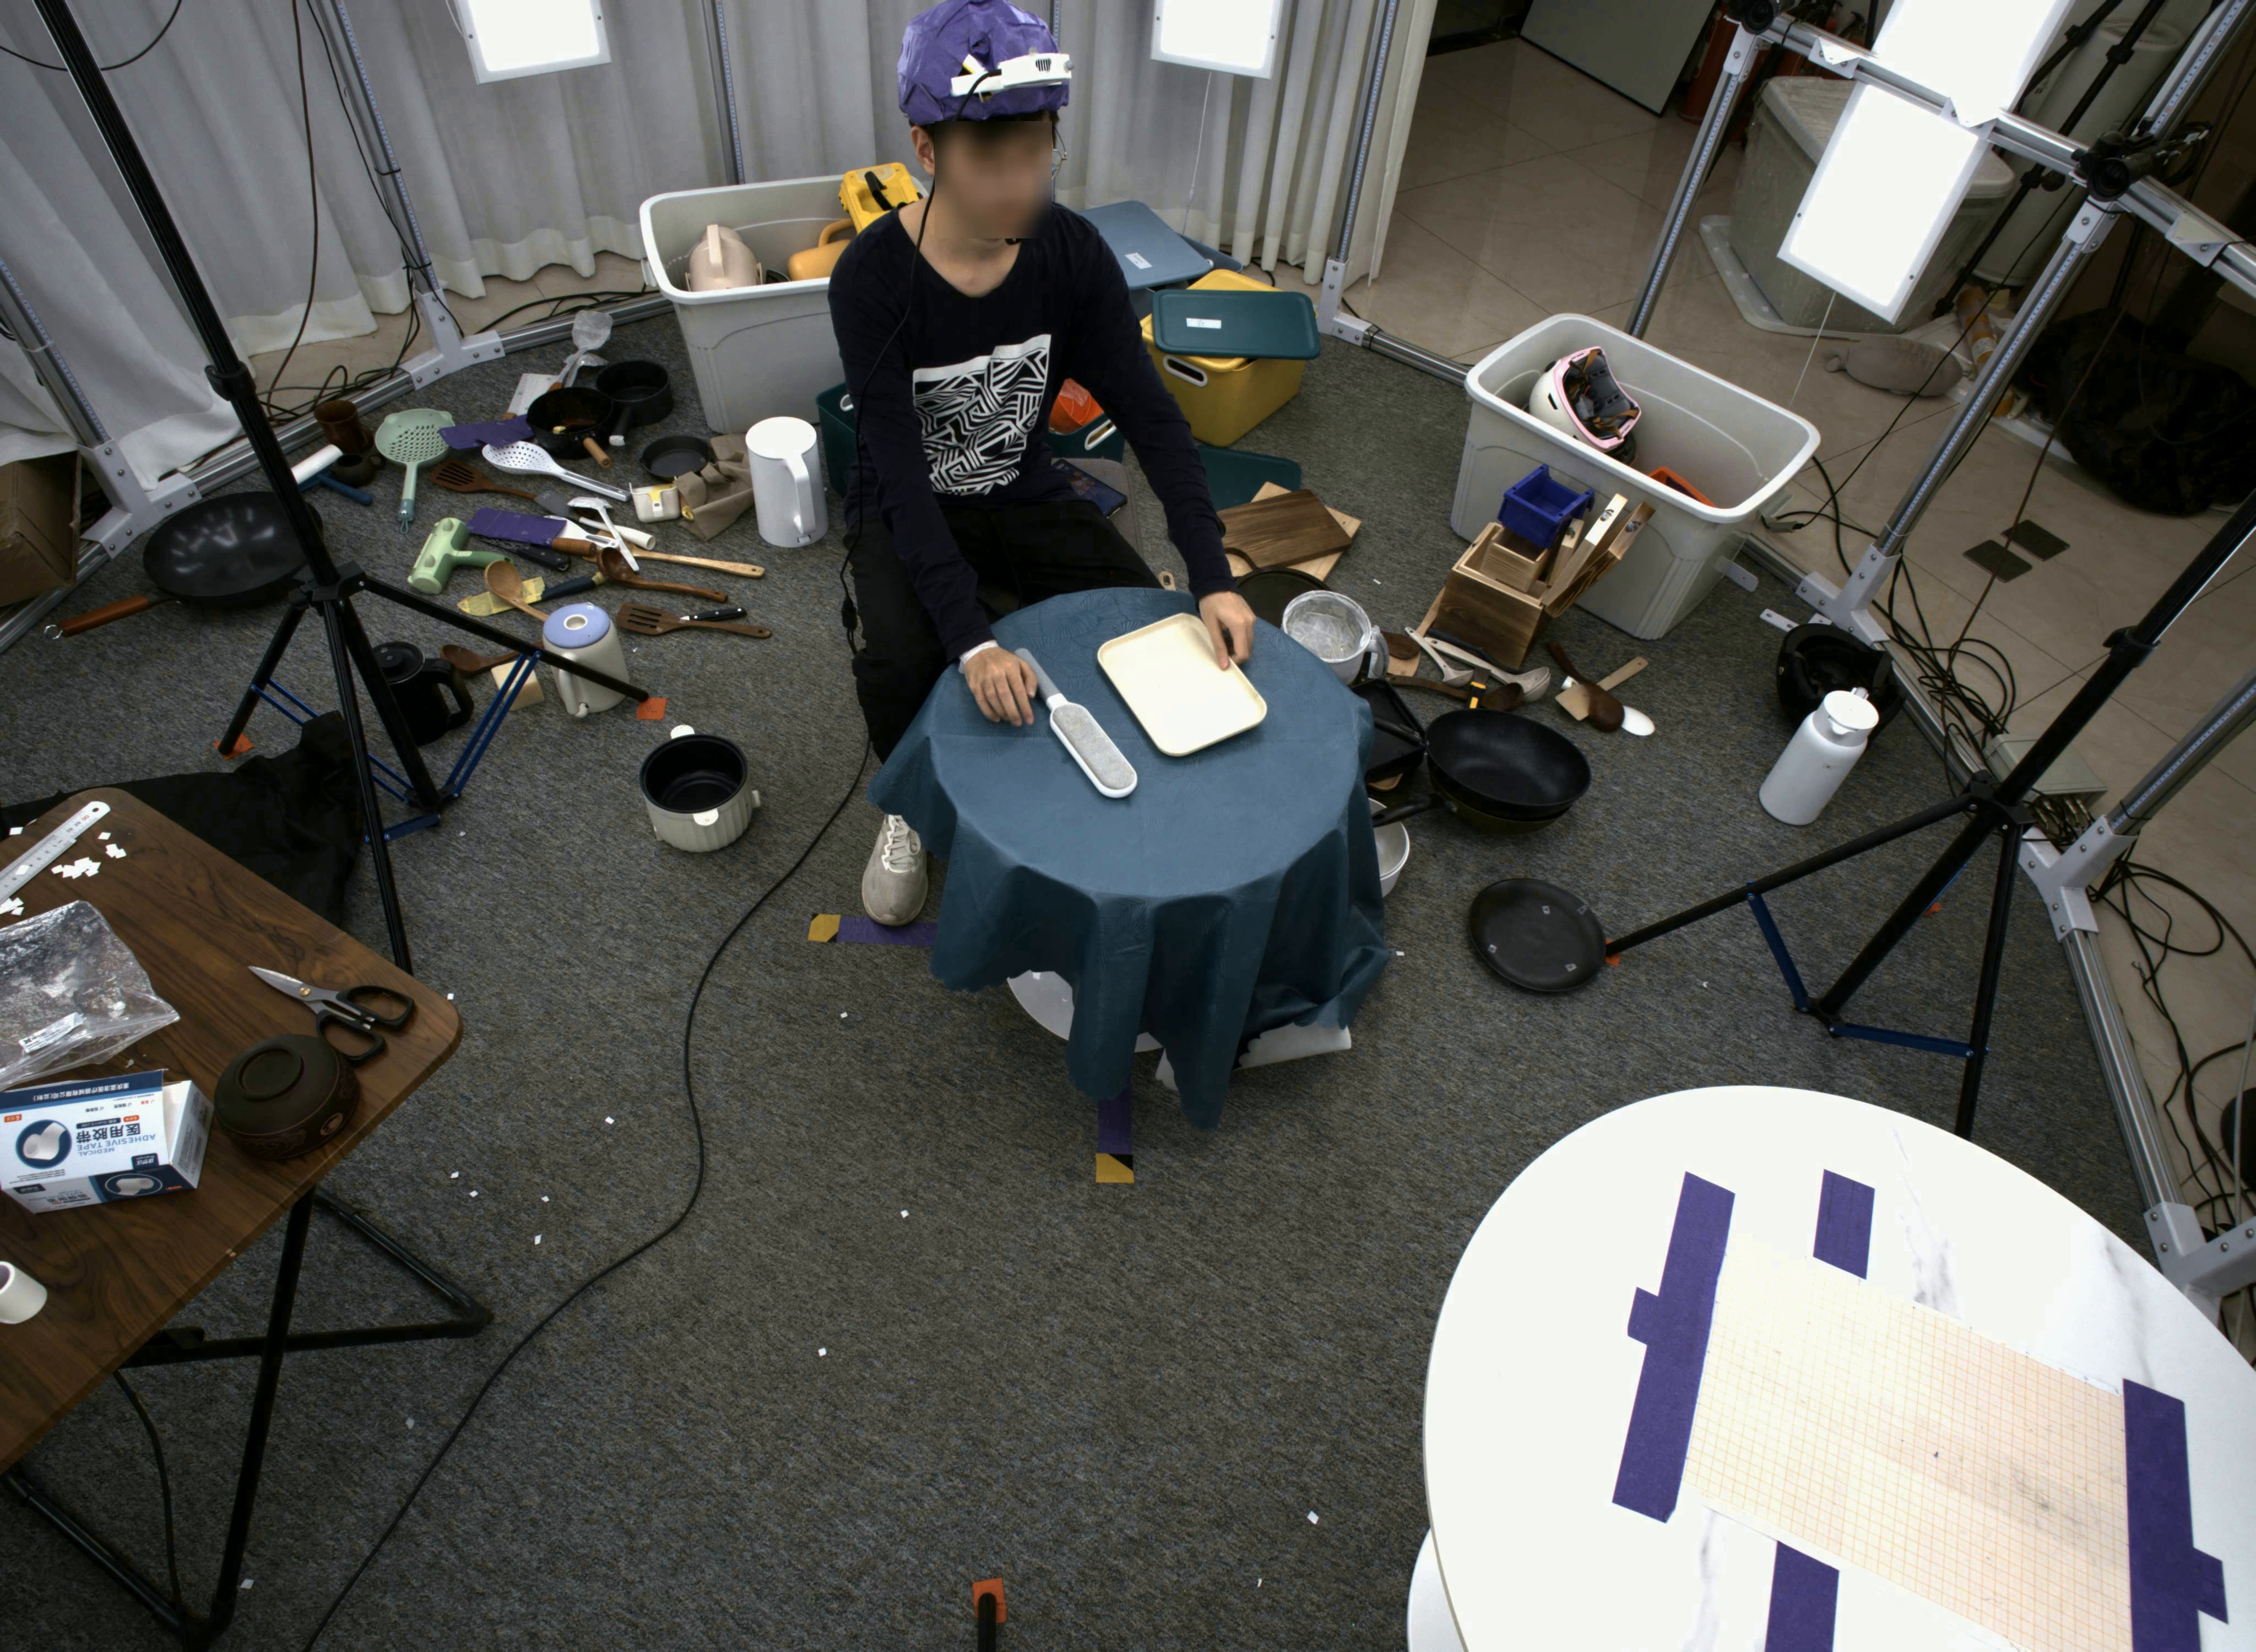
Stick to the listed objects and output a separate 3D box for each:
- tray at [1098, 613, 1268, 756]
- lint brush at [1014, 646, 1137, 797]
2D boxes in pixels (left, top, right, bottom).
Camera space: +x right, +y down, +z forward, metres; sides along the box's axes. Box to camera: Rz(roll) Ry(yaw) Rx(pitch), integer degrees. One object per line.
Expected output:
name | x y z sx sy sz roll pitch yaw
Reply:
tray | 0.076 -0.203 1.827 0.171 0.017 0.245 -24 55 -14
lint brush | -0.079 -0.150 1.774 0.060 0.020 0.315 -25 55 -17
